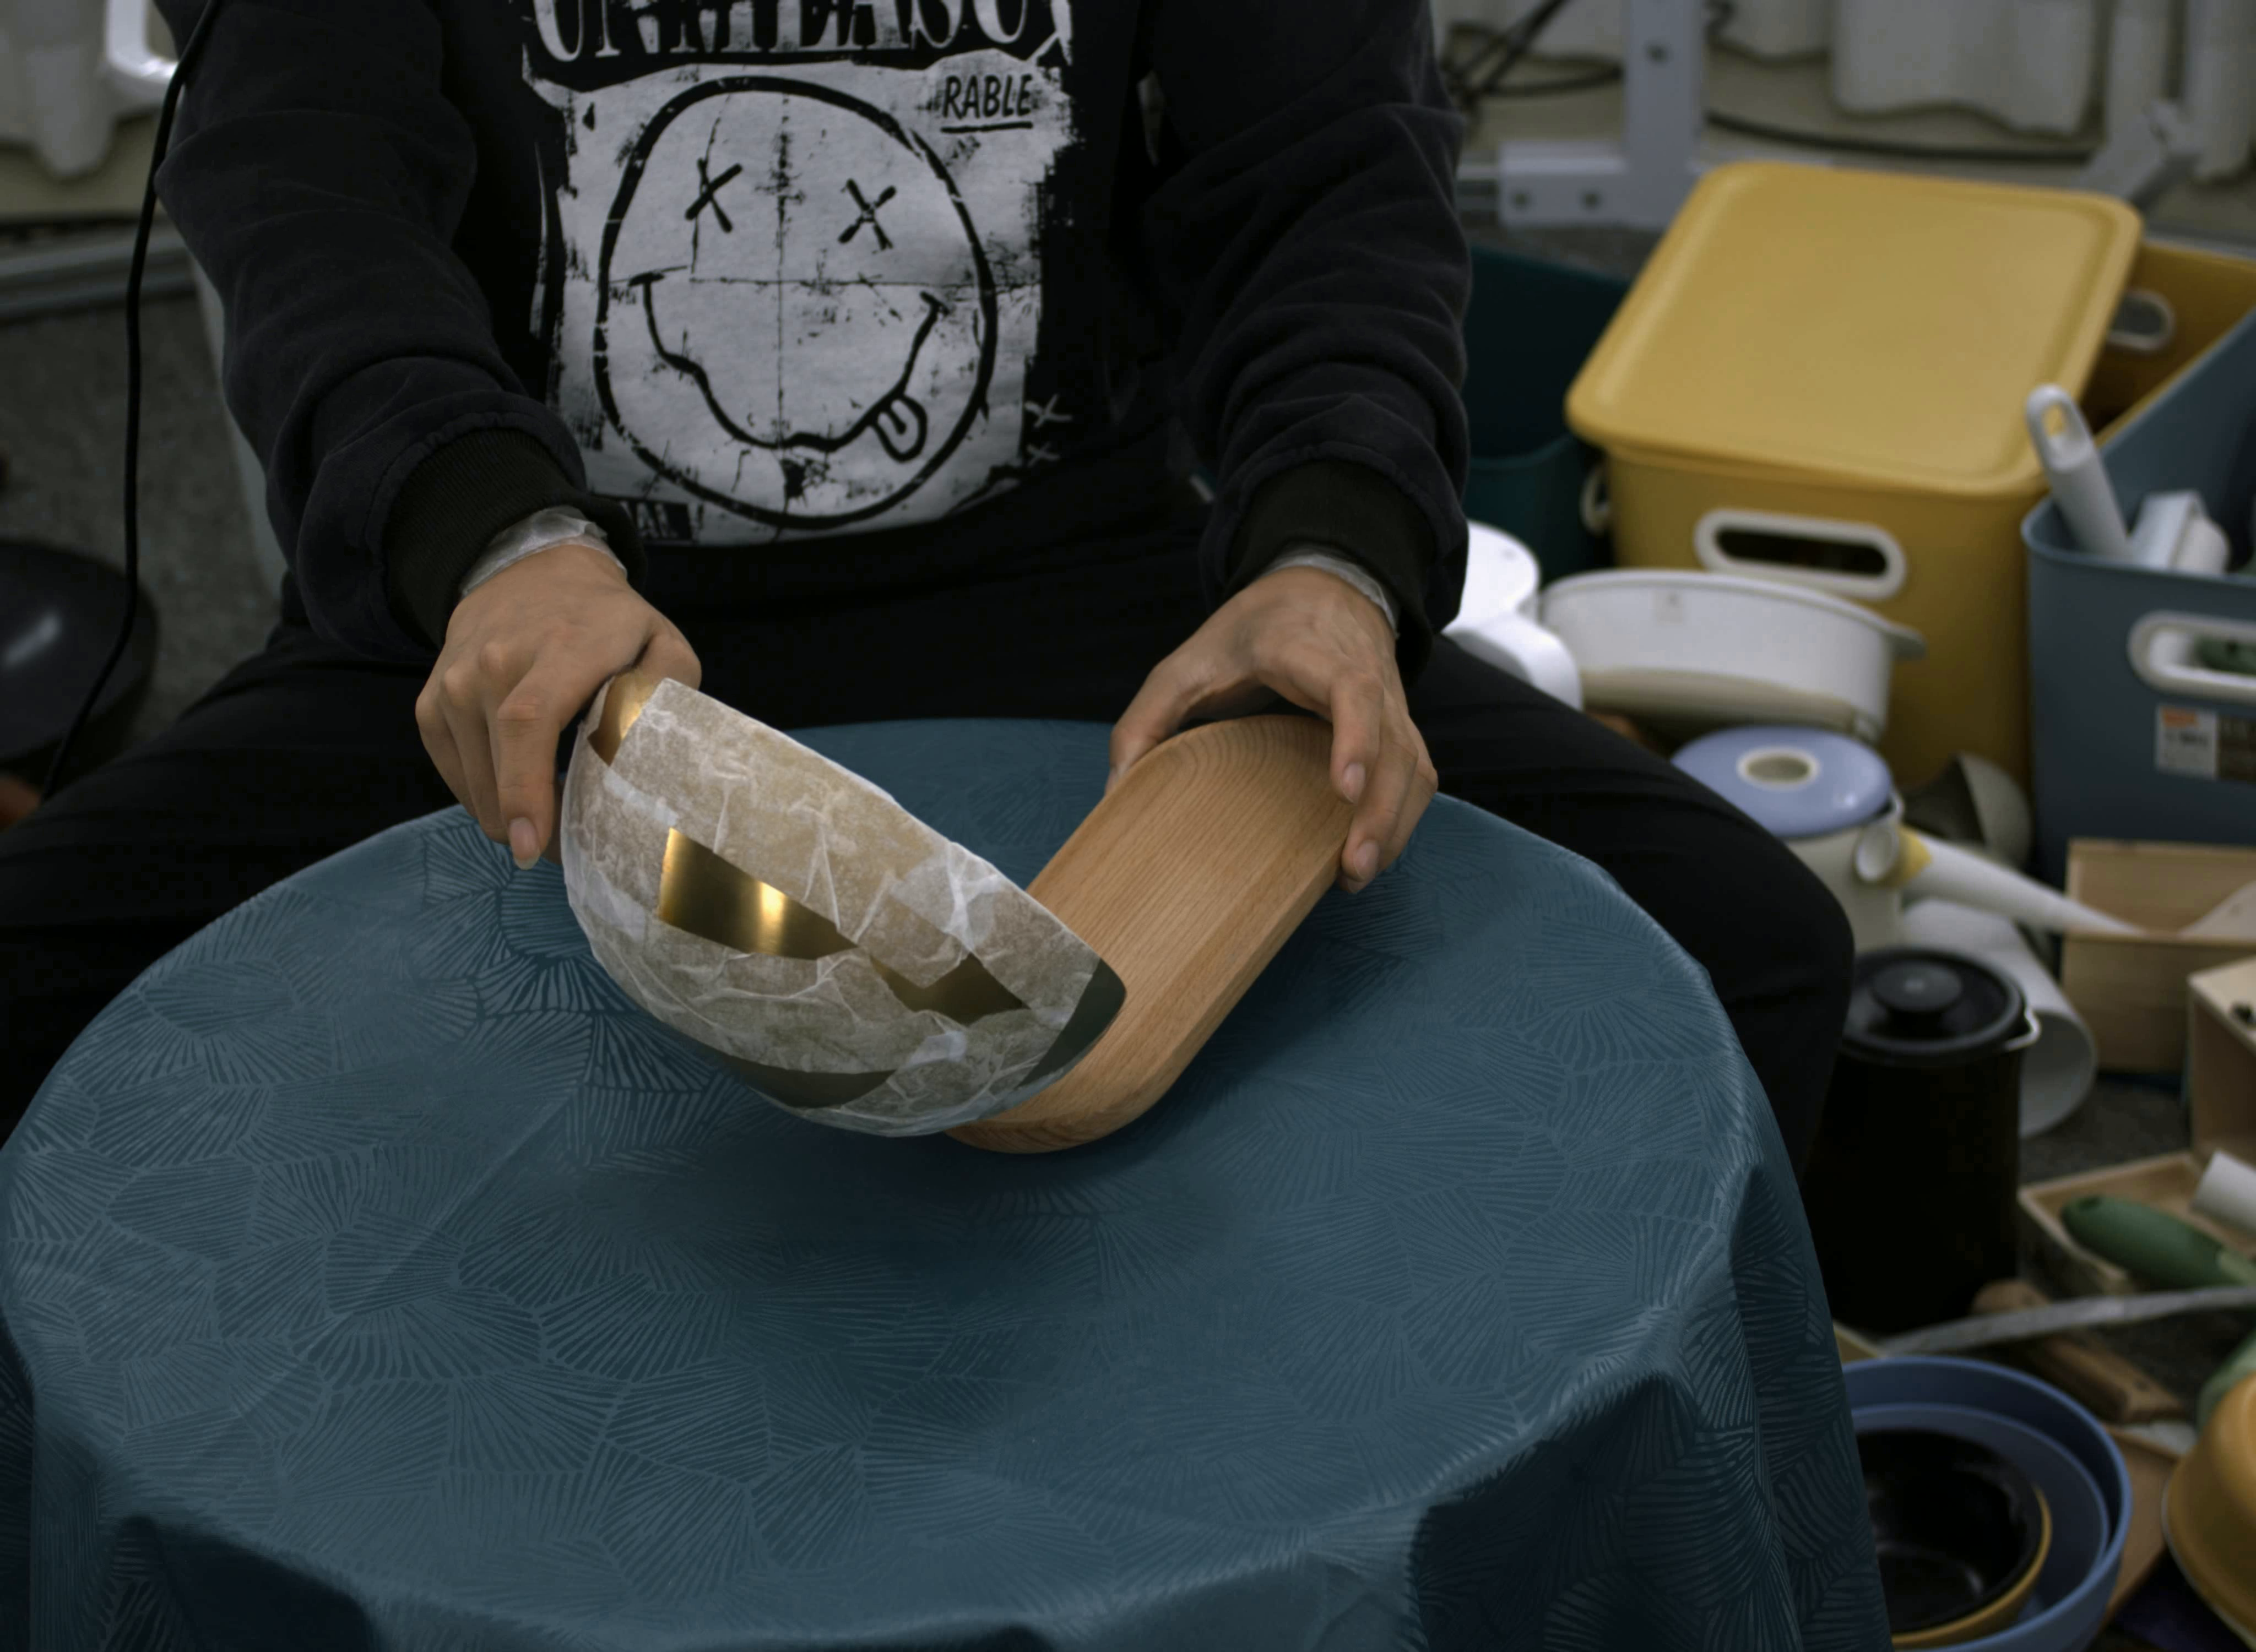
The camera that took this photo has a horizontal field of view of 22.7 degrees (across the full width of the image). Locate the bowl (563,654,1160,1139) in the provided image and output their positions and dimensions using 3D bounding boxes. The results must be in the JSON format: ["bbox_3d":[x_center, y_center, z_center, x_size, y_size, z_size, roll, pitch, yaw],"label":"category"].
[{"bbox_3d":[-0.104,0.041,1.821,0.214,0.213,0.095,24,78,41],"label":"bowl"}]

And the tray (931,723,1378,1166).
[{"bbox_3d":[0.008,0.039,1.952,0.101,0.020,0.235,8,42,32],"label":"tray"}]
